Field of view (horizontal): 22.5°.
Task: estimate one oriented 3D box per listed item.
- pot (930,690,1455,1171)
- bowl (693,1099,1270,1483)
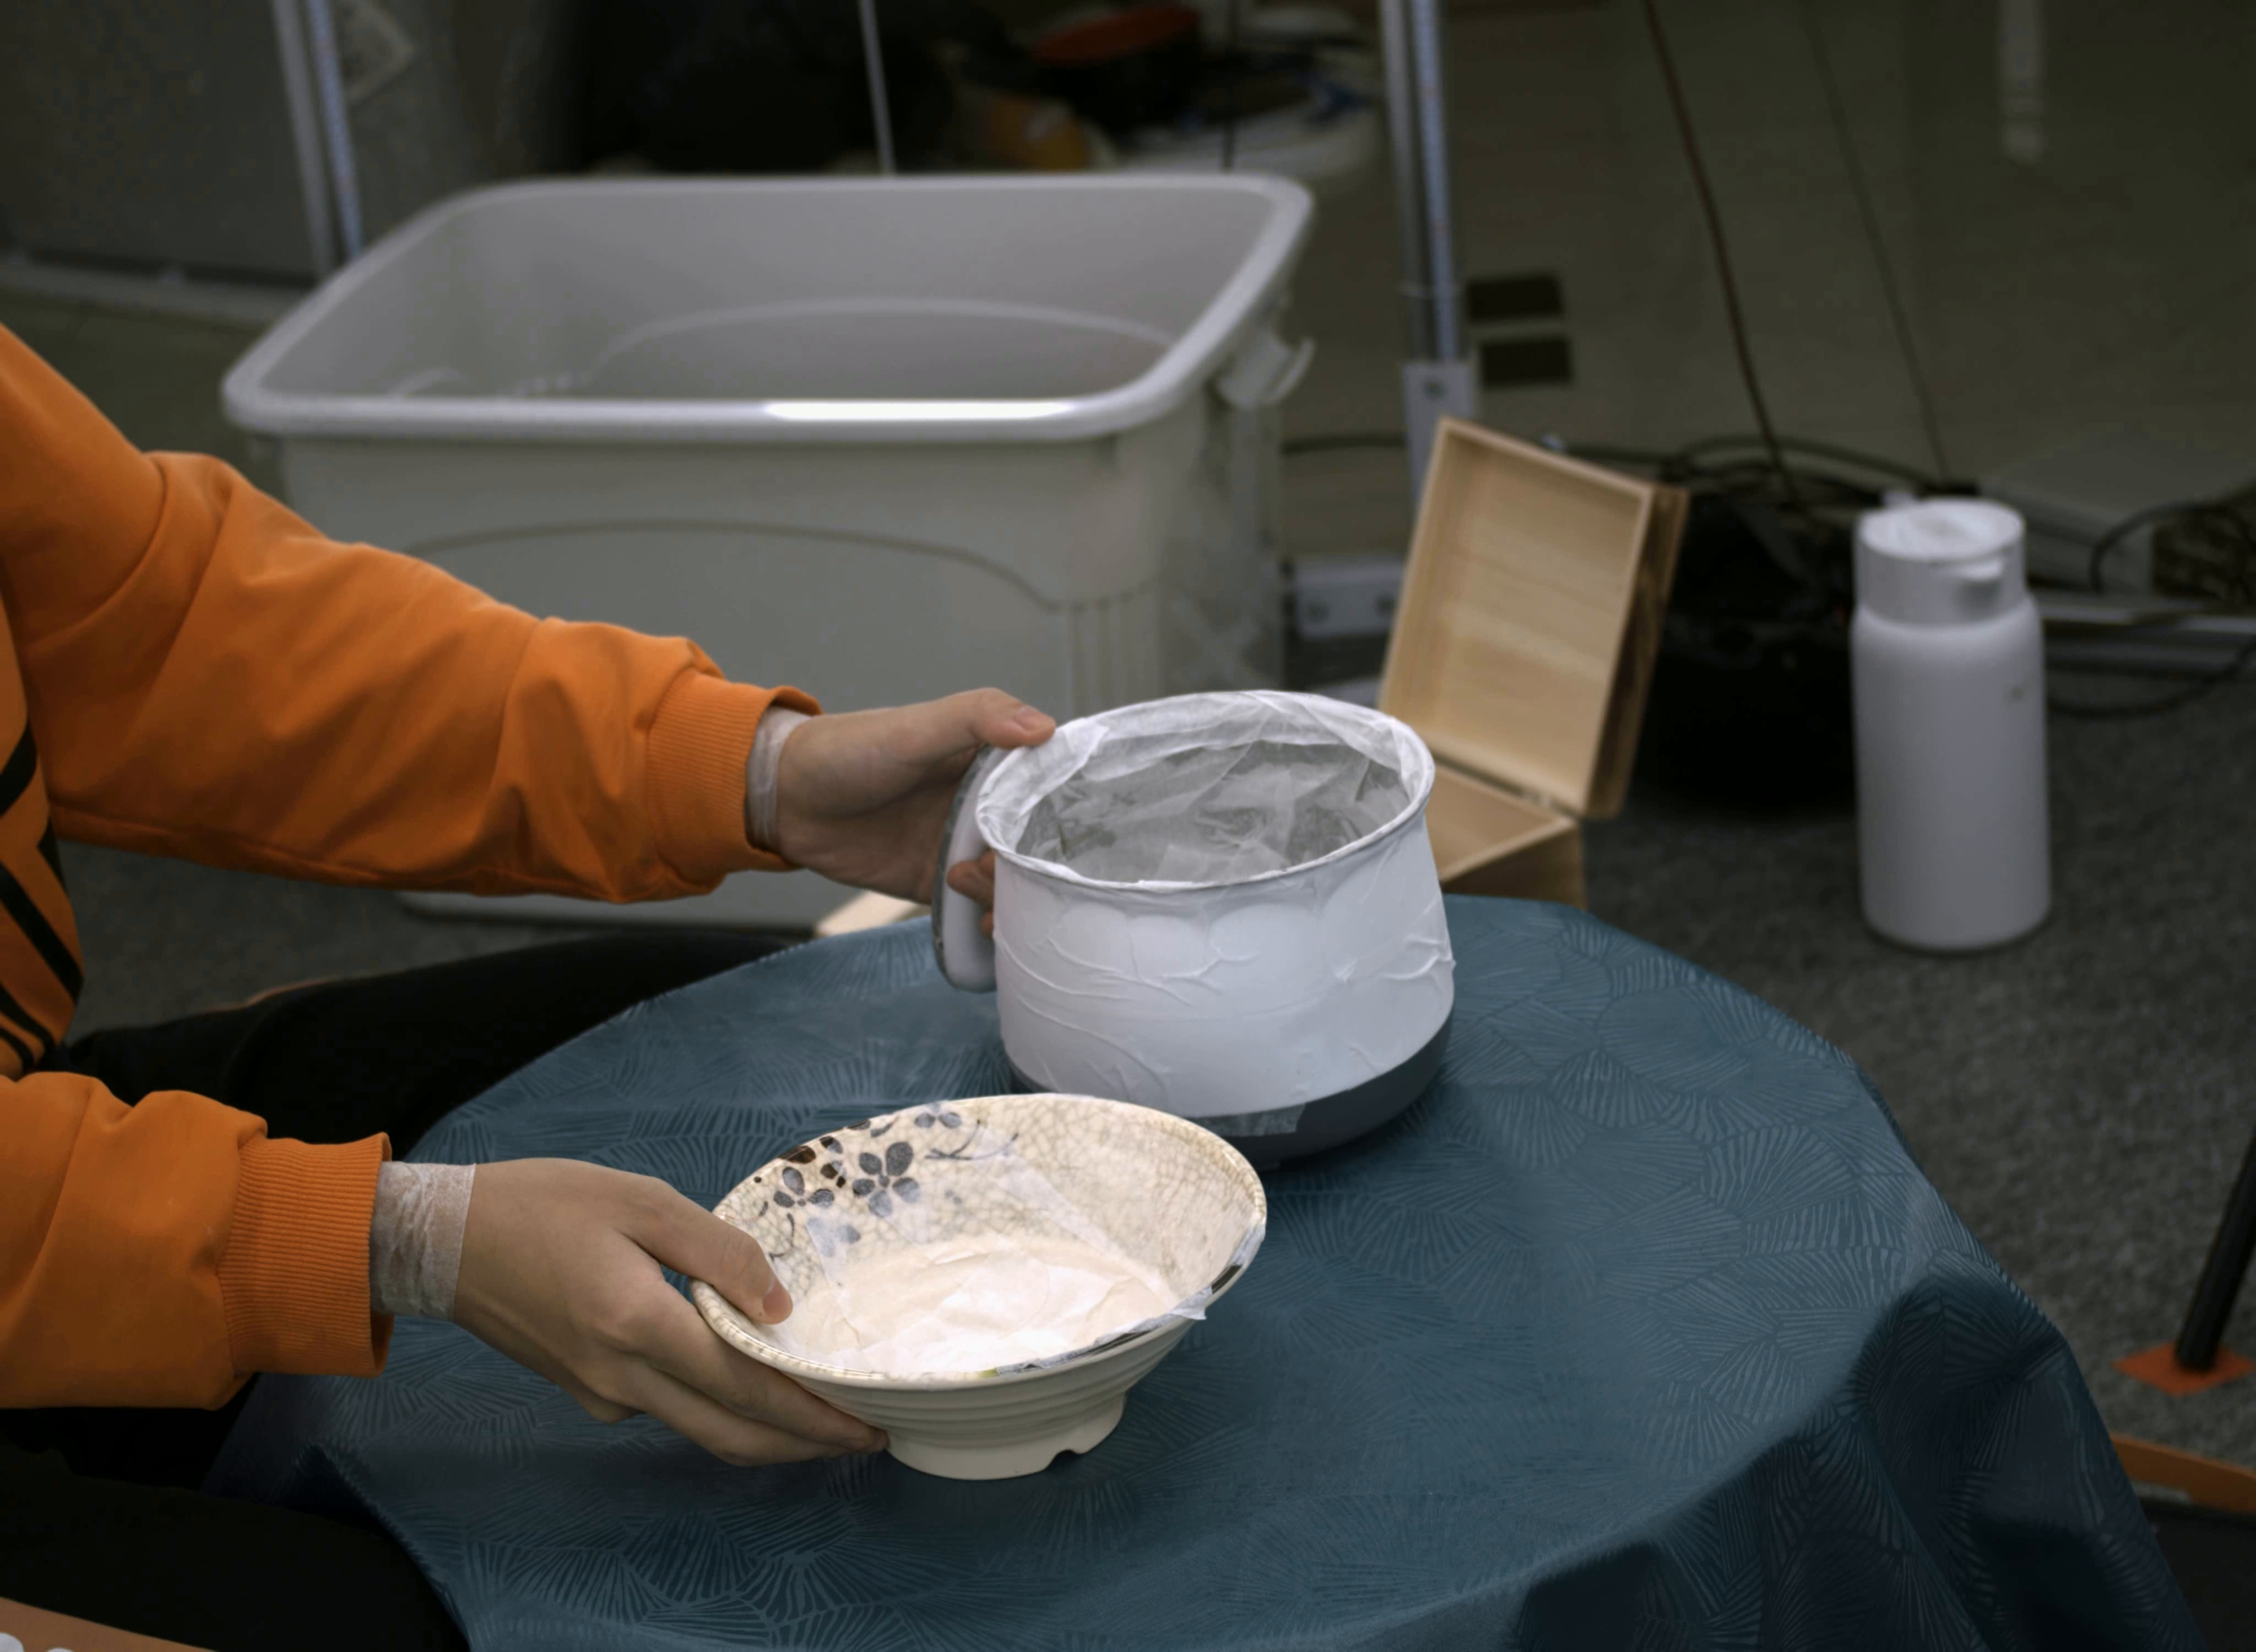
[{"bbox_3d":[0.014,0.036,2.198,0.232,0.139,0.177,14,32,37],"label":"pot"},{"bbox_3d":[-0.046,0.175,1.991,0.204,0.079,0.201,-7,25,3],"label":"bowl"}]
